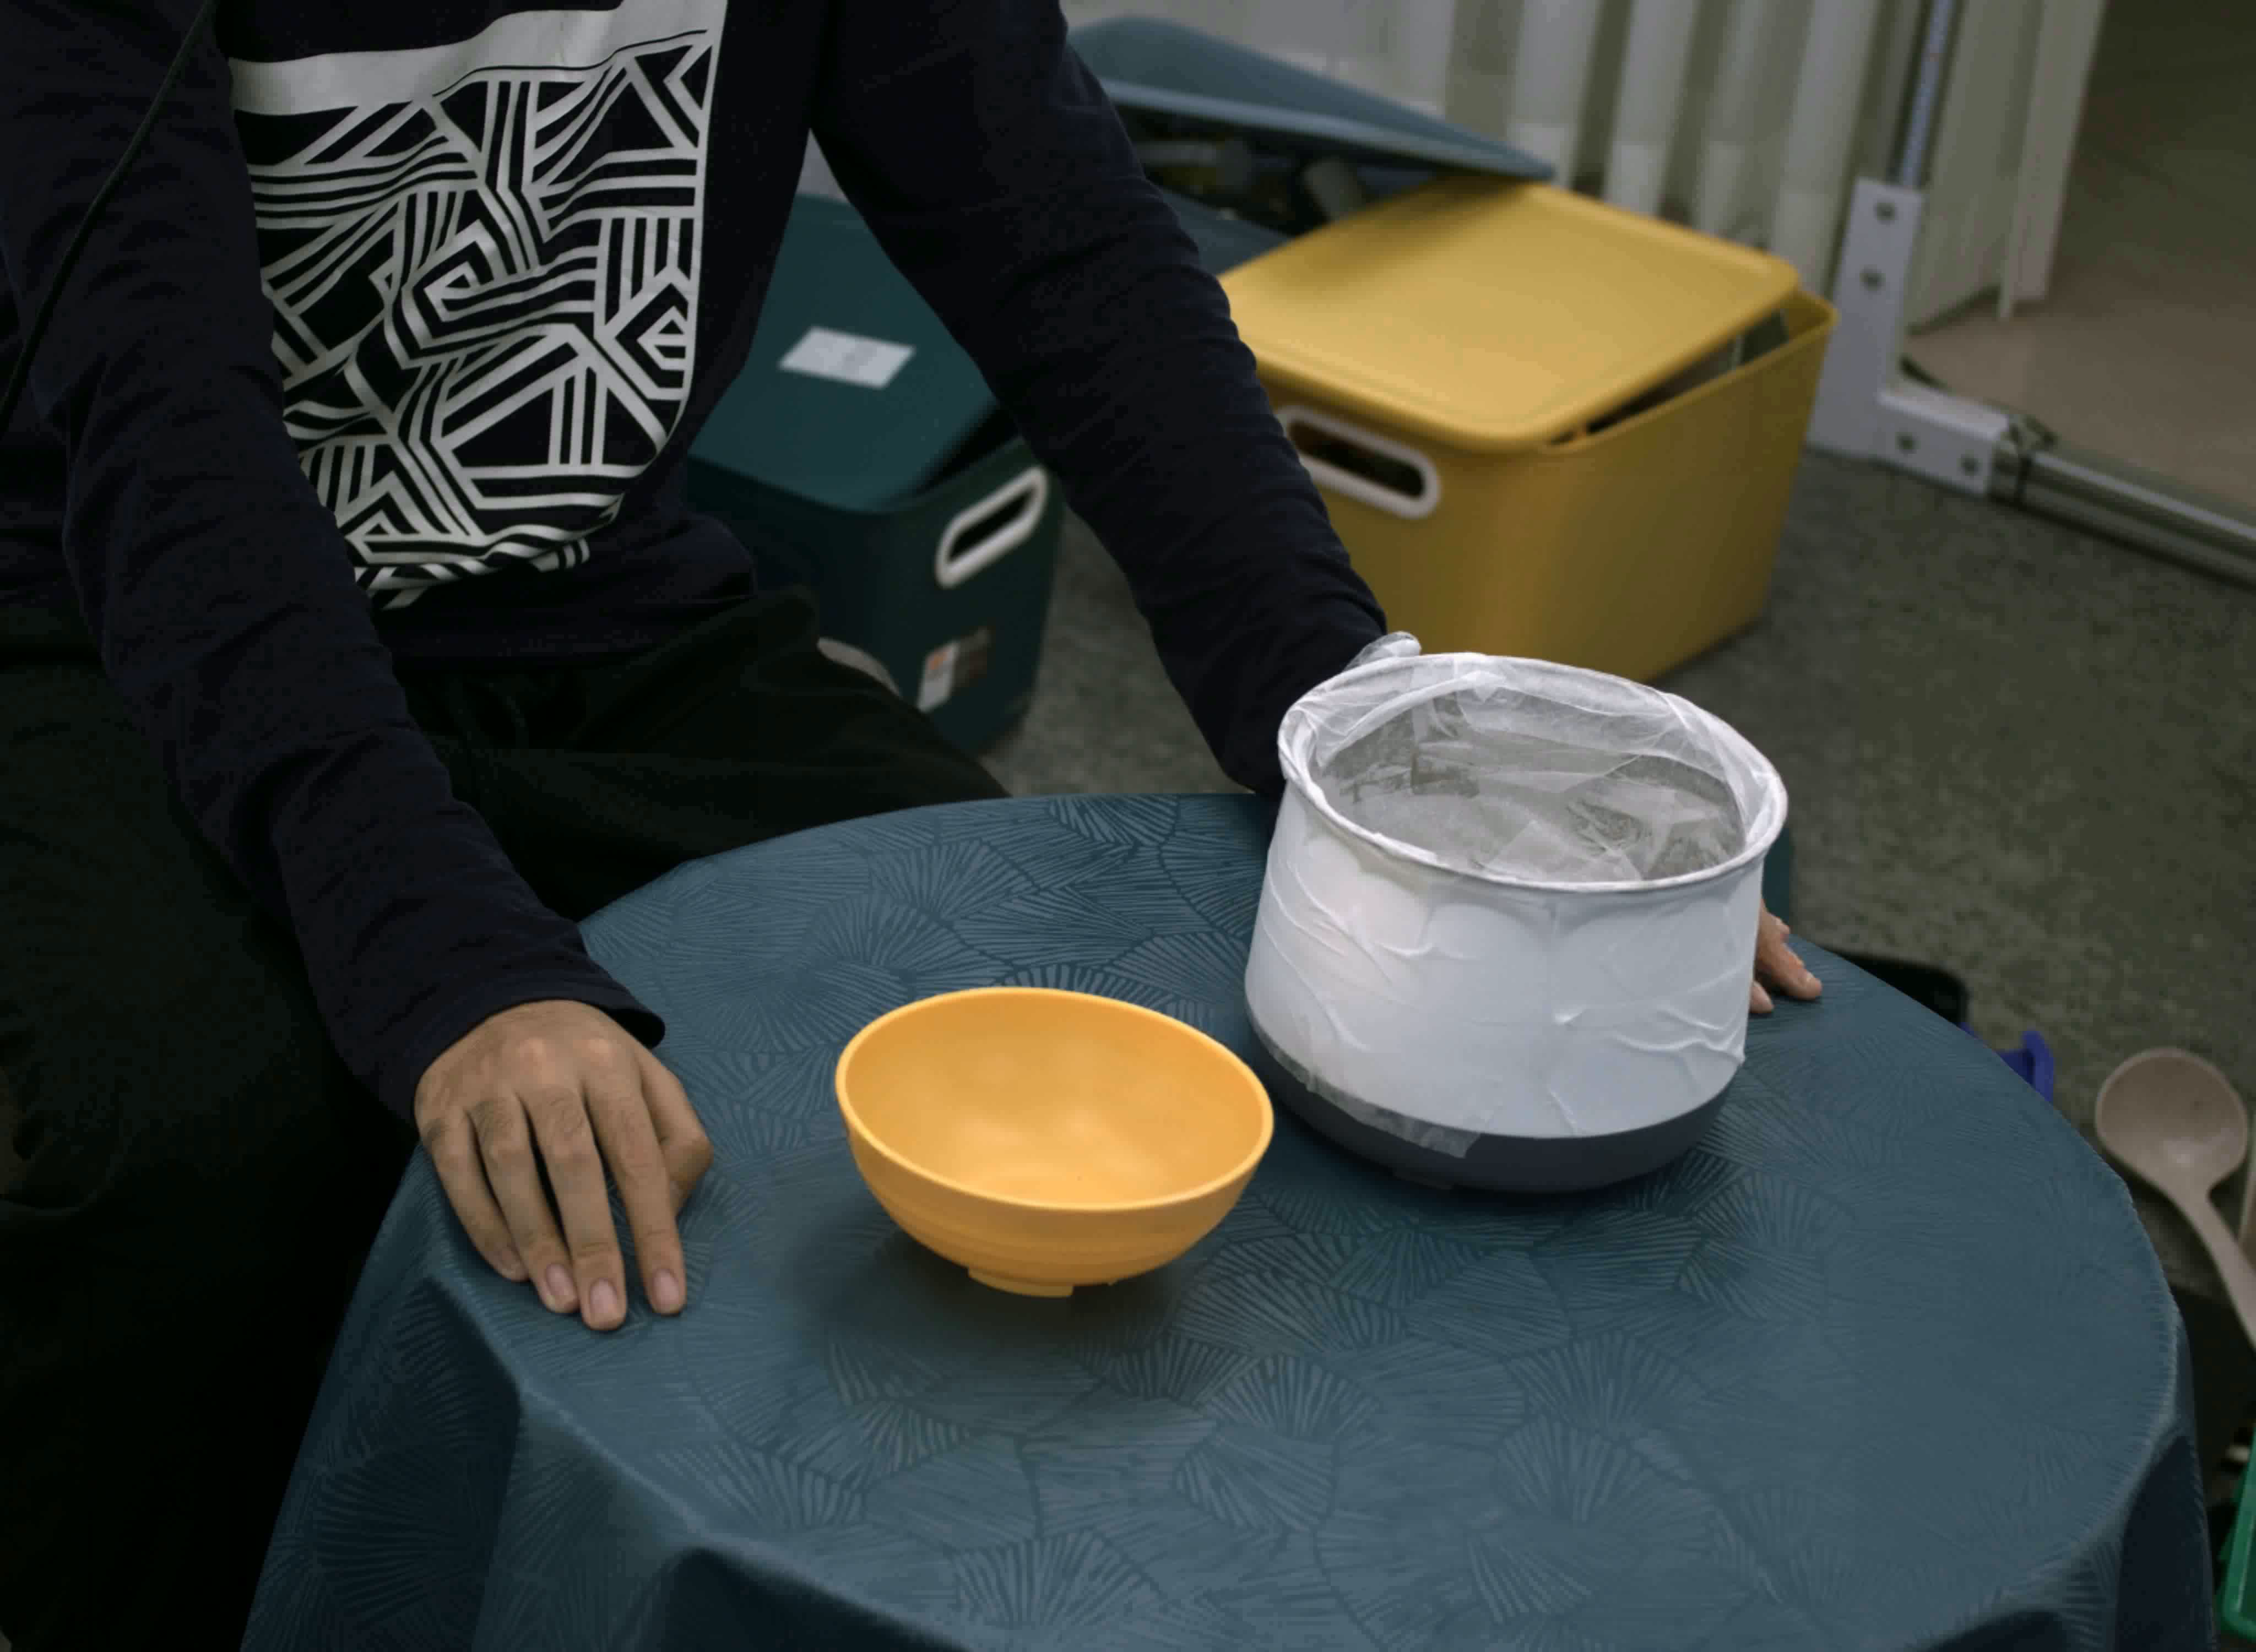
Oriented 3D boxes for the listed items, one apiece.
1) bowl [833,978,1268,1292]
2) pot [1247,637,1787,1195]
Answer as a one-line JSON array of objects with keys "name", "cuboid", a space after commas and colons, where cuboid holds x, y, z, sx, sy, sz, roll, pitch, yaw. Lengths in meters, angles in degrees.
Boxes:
[{"name": "bowl", "cuboid": [-0.029, 0.111, 1.754, 0.145, 0.060, 0.146, 7, 27, -4]}, {"name": "pot", "cuboid": [0.121, 0.025, 1.882, 0.177, 0.136, 0.236, -7, 28, -25]}]
